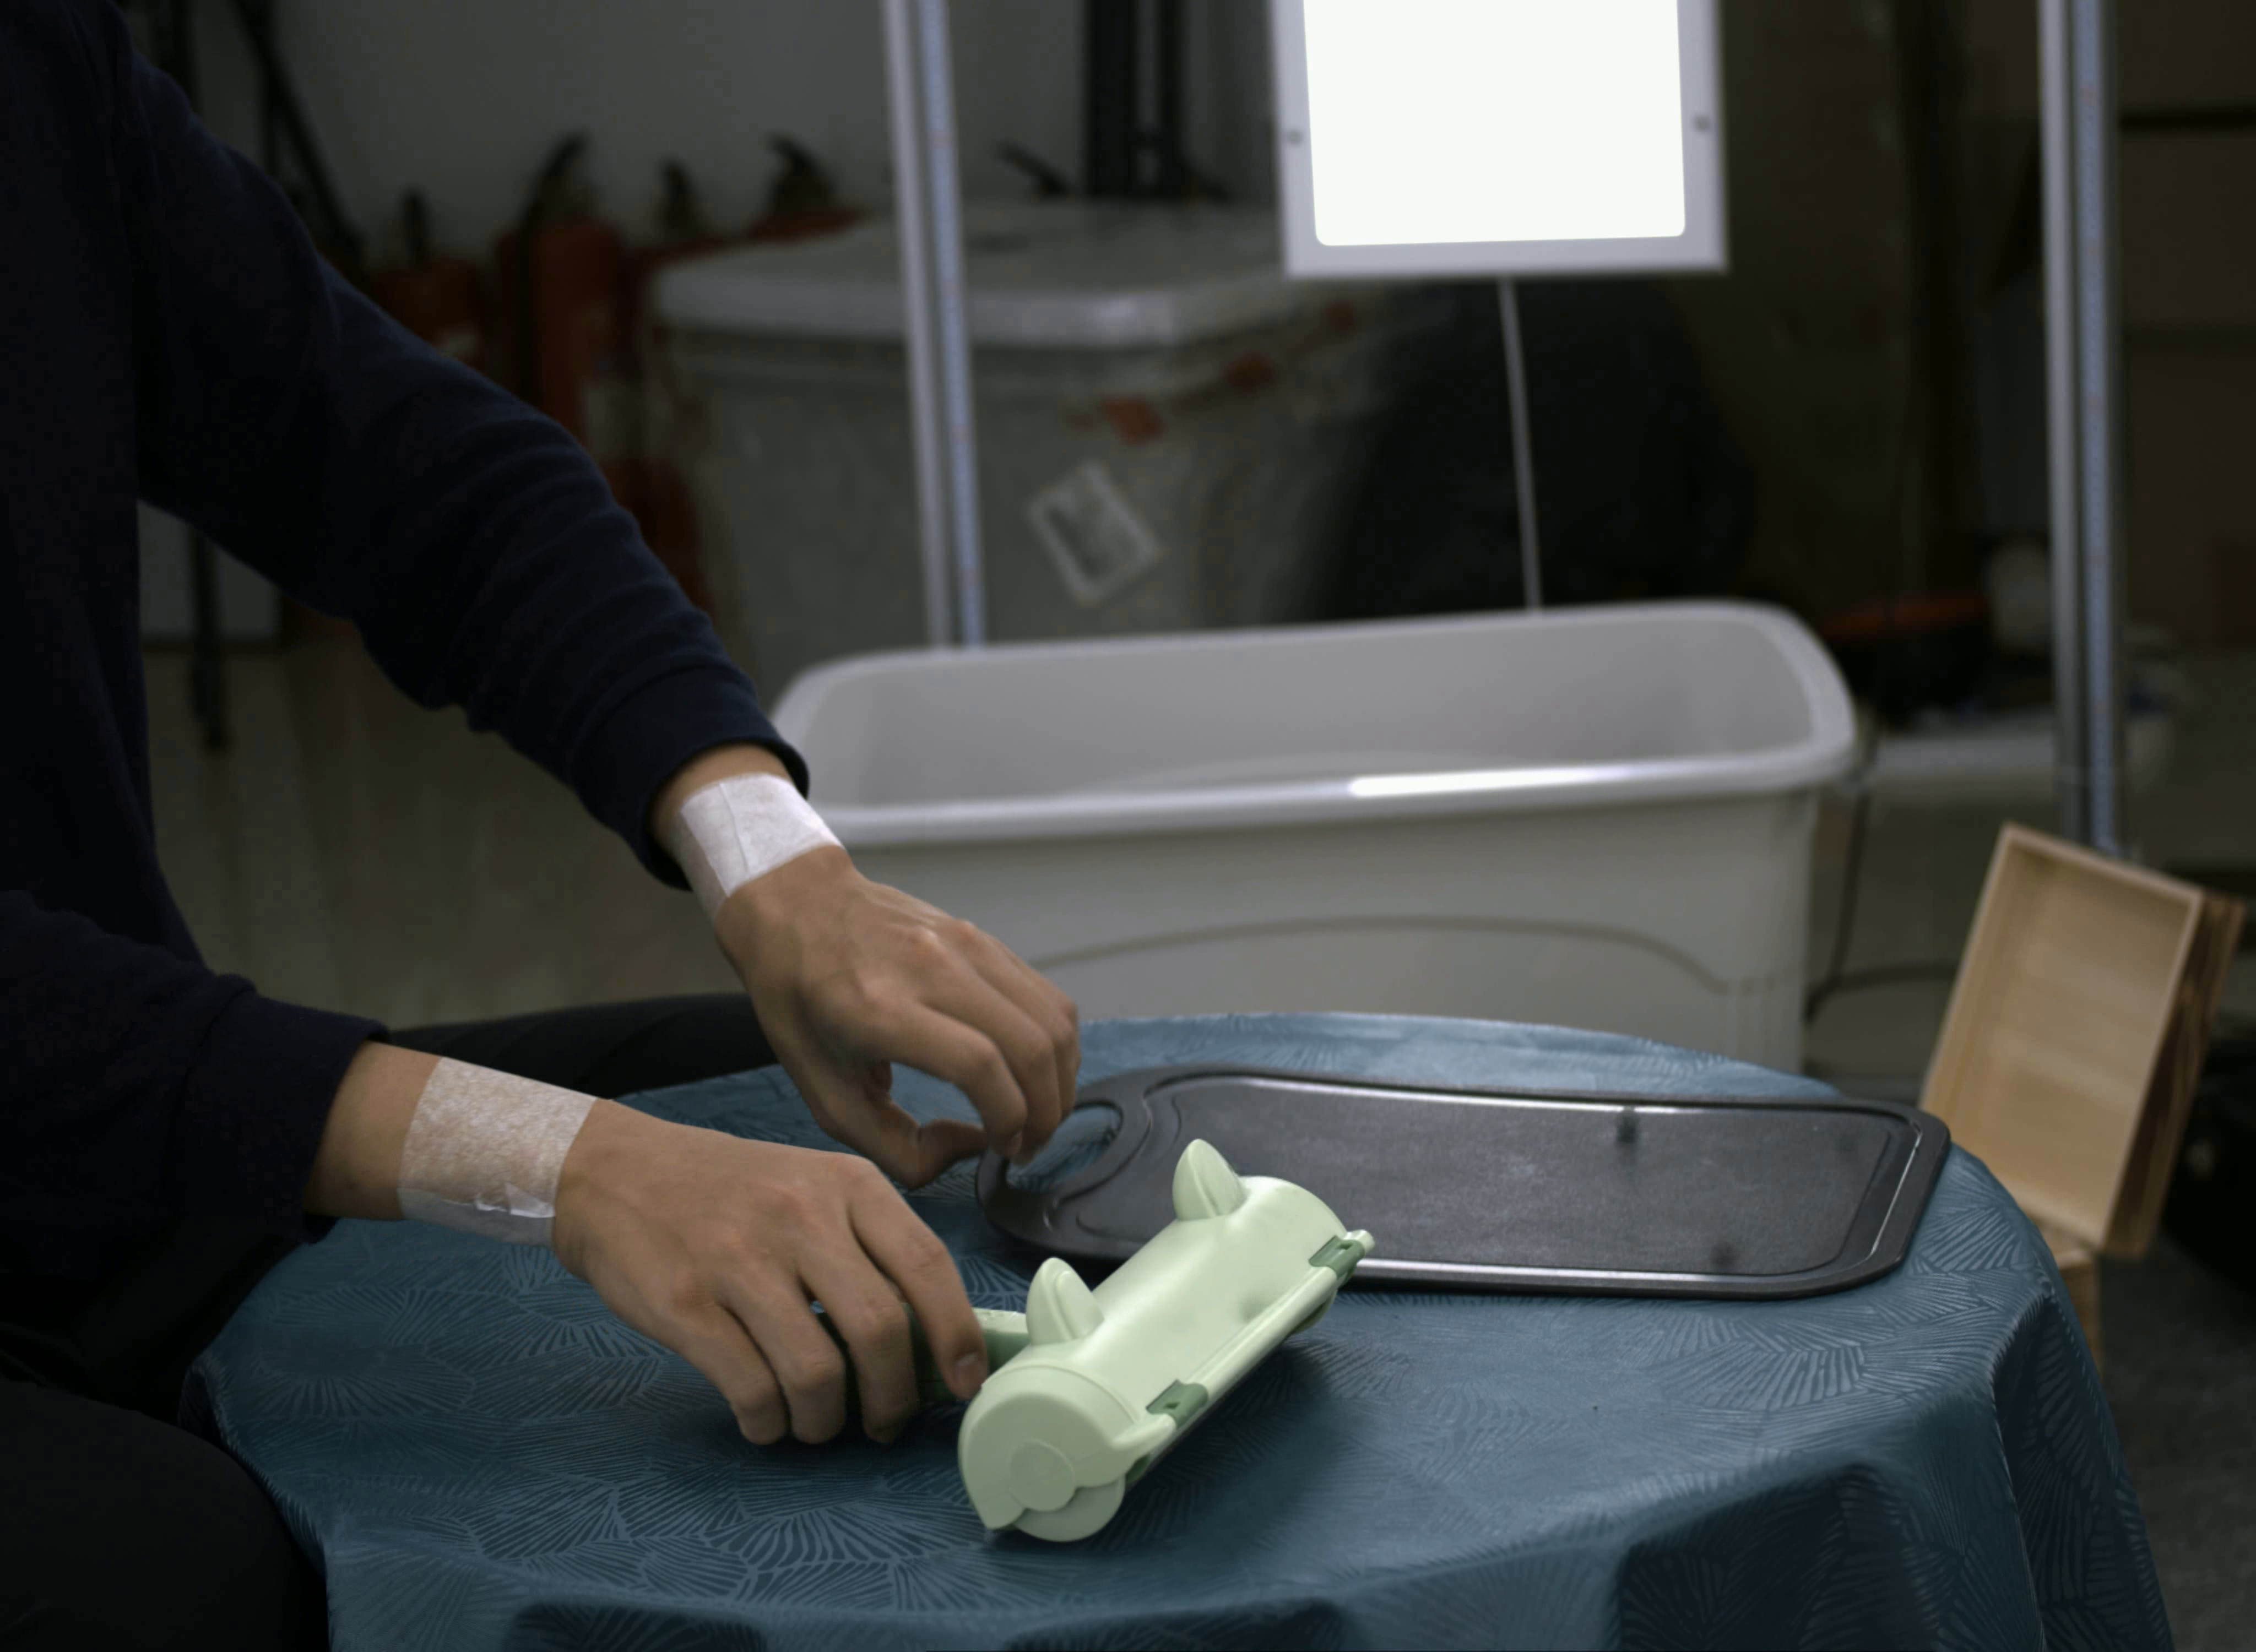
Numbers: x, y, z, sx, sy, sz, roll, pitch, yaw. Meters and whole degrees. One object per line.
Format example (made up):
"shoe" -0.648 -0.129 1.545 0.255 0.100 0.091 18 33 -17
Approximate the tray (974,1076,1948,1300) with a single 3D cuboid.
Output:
"tray" 0.110 0.118 1.863 0.329 0.010 0.208 1 15 18

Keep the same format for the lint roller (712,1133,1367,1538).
"lint roller" -0.042 0.142 1.669 0.186 0.082 0.195 8 17 21
